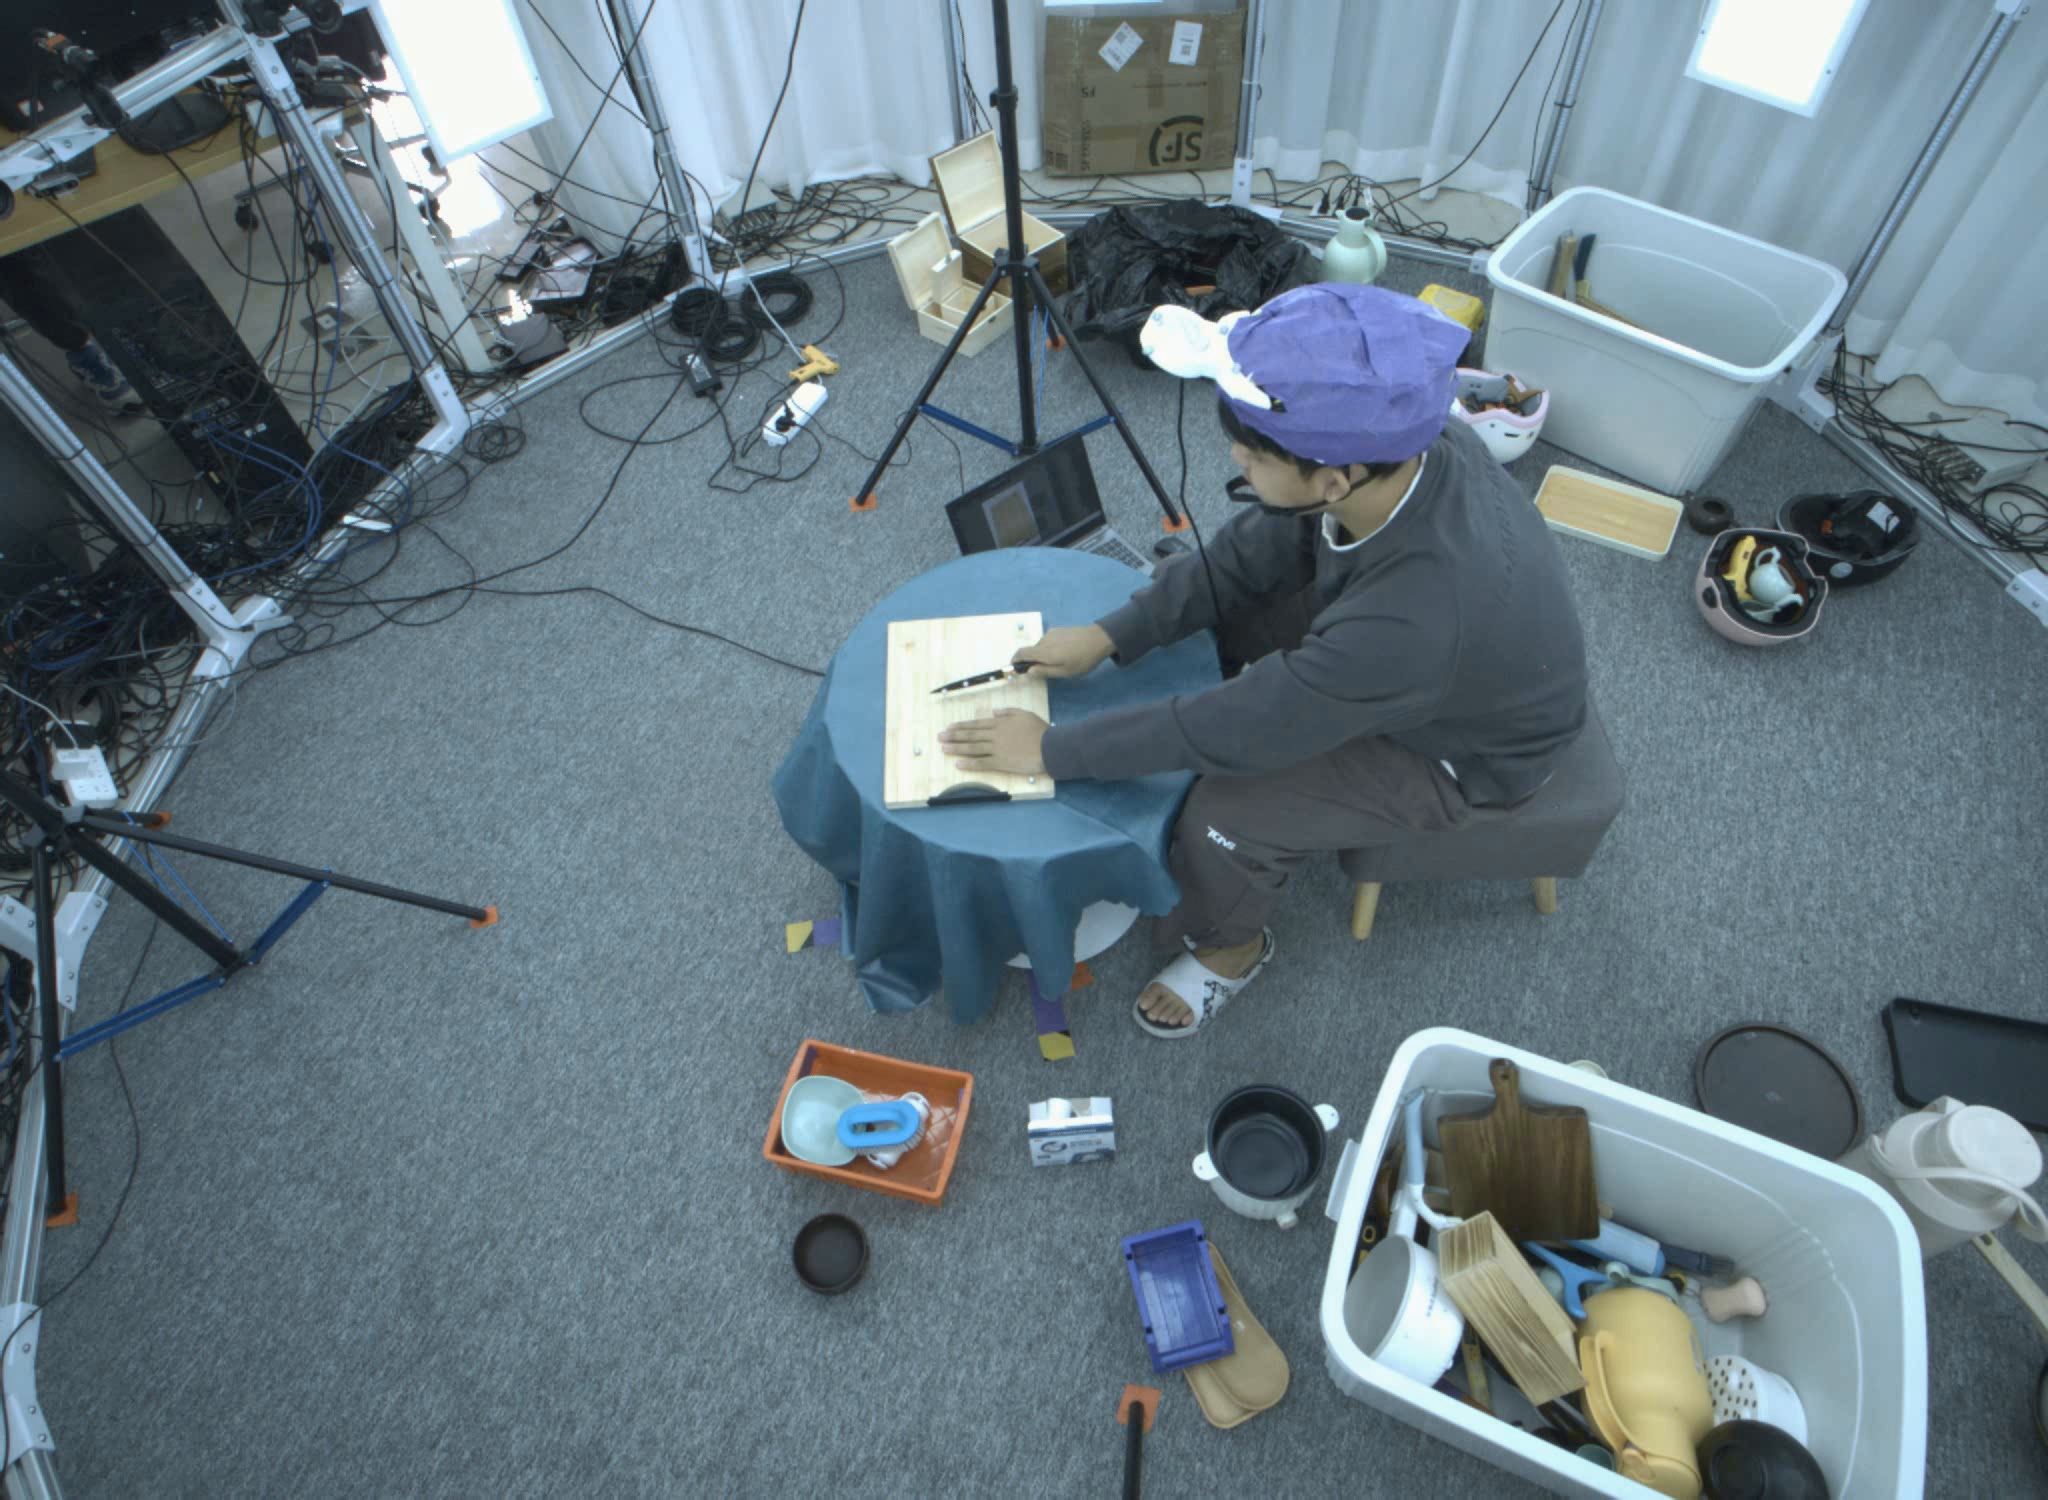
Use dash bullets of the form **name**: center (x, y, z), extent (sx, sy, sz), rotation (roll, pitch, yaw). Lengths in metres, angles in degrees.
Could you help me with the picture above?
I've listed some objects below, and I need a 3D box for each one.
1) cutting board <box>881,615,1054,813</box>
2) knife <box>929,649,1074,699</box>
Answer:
- **cutting board**: center (-0.086, -0.062, 1.824), extent (0.251, 0.024, 0.344), rotation (-4, 55, -1)
- **knife**: center (-0.033, -0.113, 1.825), extent (0.226, 0.026, 0.017), rotation (-16, 57, -5)
